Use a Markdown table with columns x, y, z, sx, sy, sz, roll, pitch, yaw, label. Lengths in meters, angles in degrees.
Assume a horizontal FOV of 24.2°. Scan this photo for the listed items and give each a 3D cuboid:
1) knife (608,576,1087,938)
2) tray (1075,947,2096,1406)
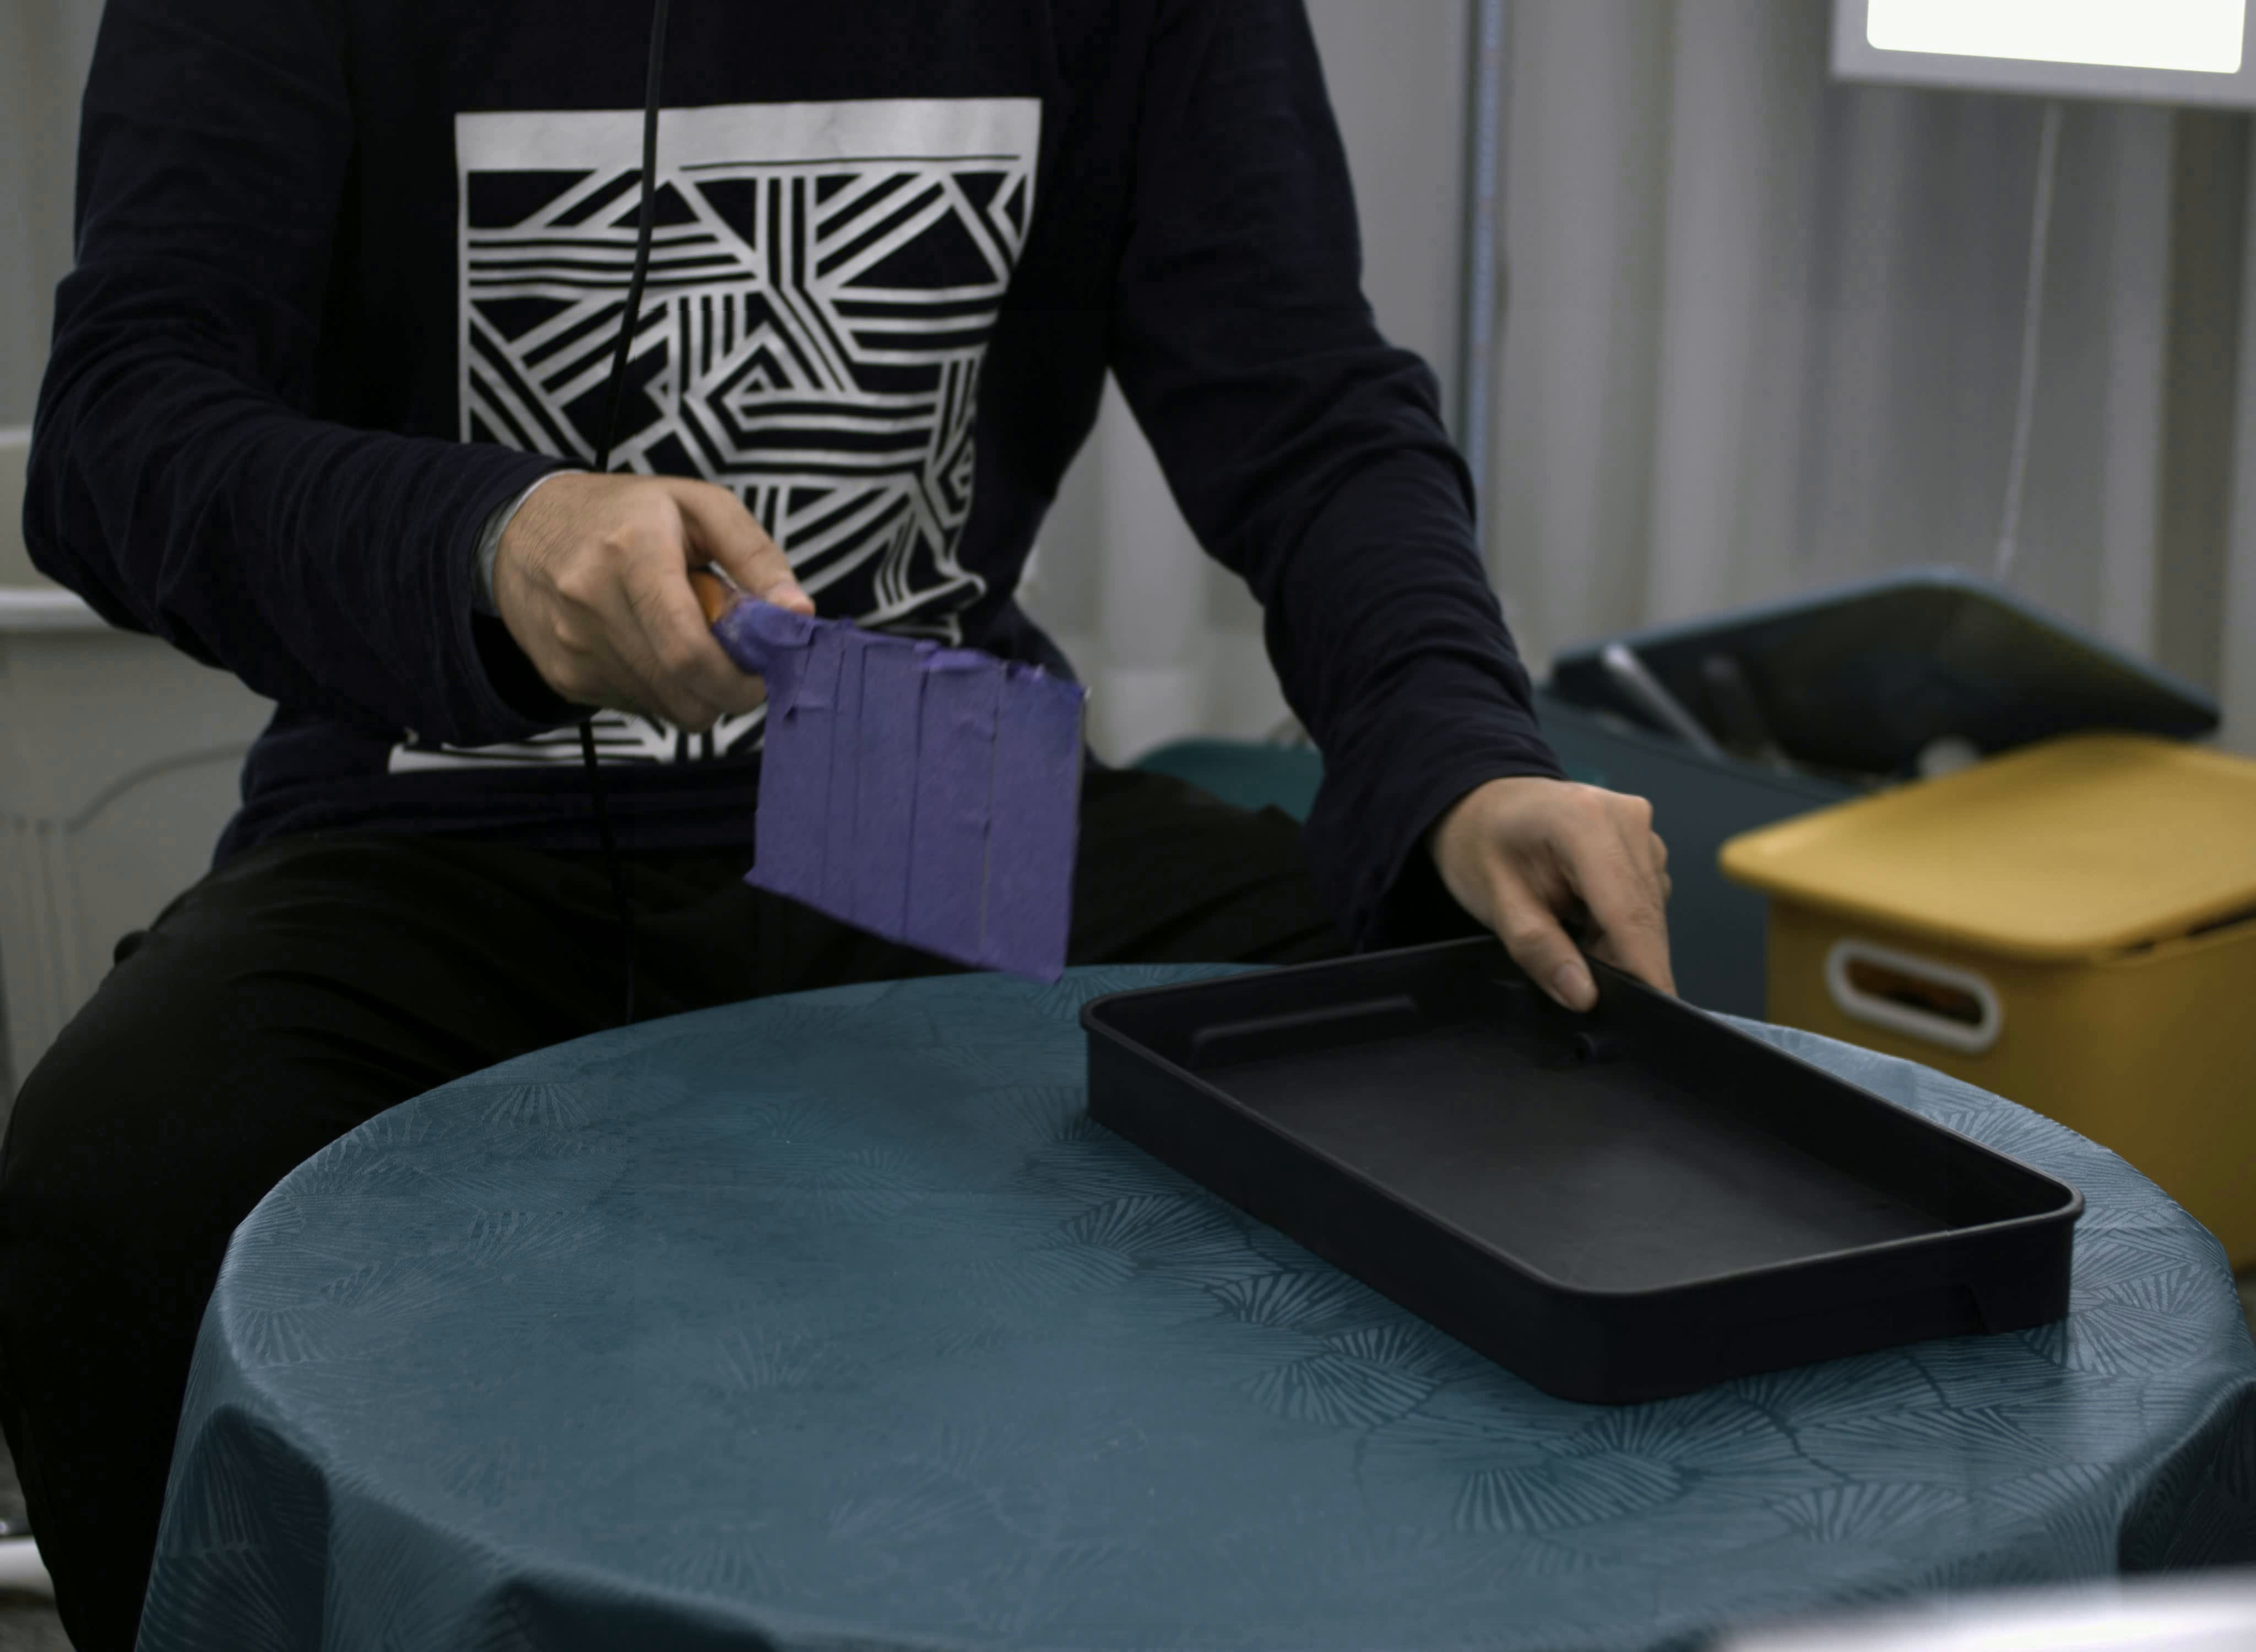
| x | y | z | sx | sy | sz | roll | pitch | yaw | label |
| --- | --- | --- | --- | --- | --- | --- | --- | --- | --- |
| -0.093 | -0.023 | 1.635 | 0.032 | 0.104 | 0.312 | 3 | 5 | -28 | knife |
| 0.132 | 0.101 | 1.610 | 0.185 | 0.037 | 0.314 | -9 | 16 | -29 | tray |
